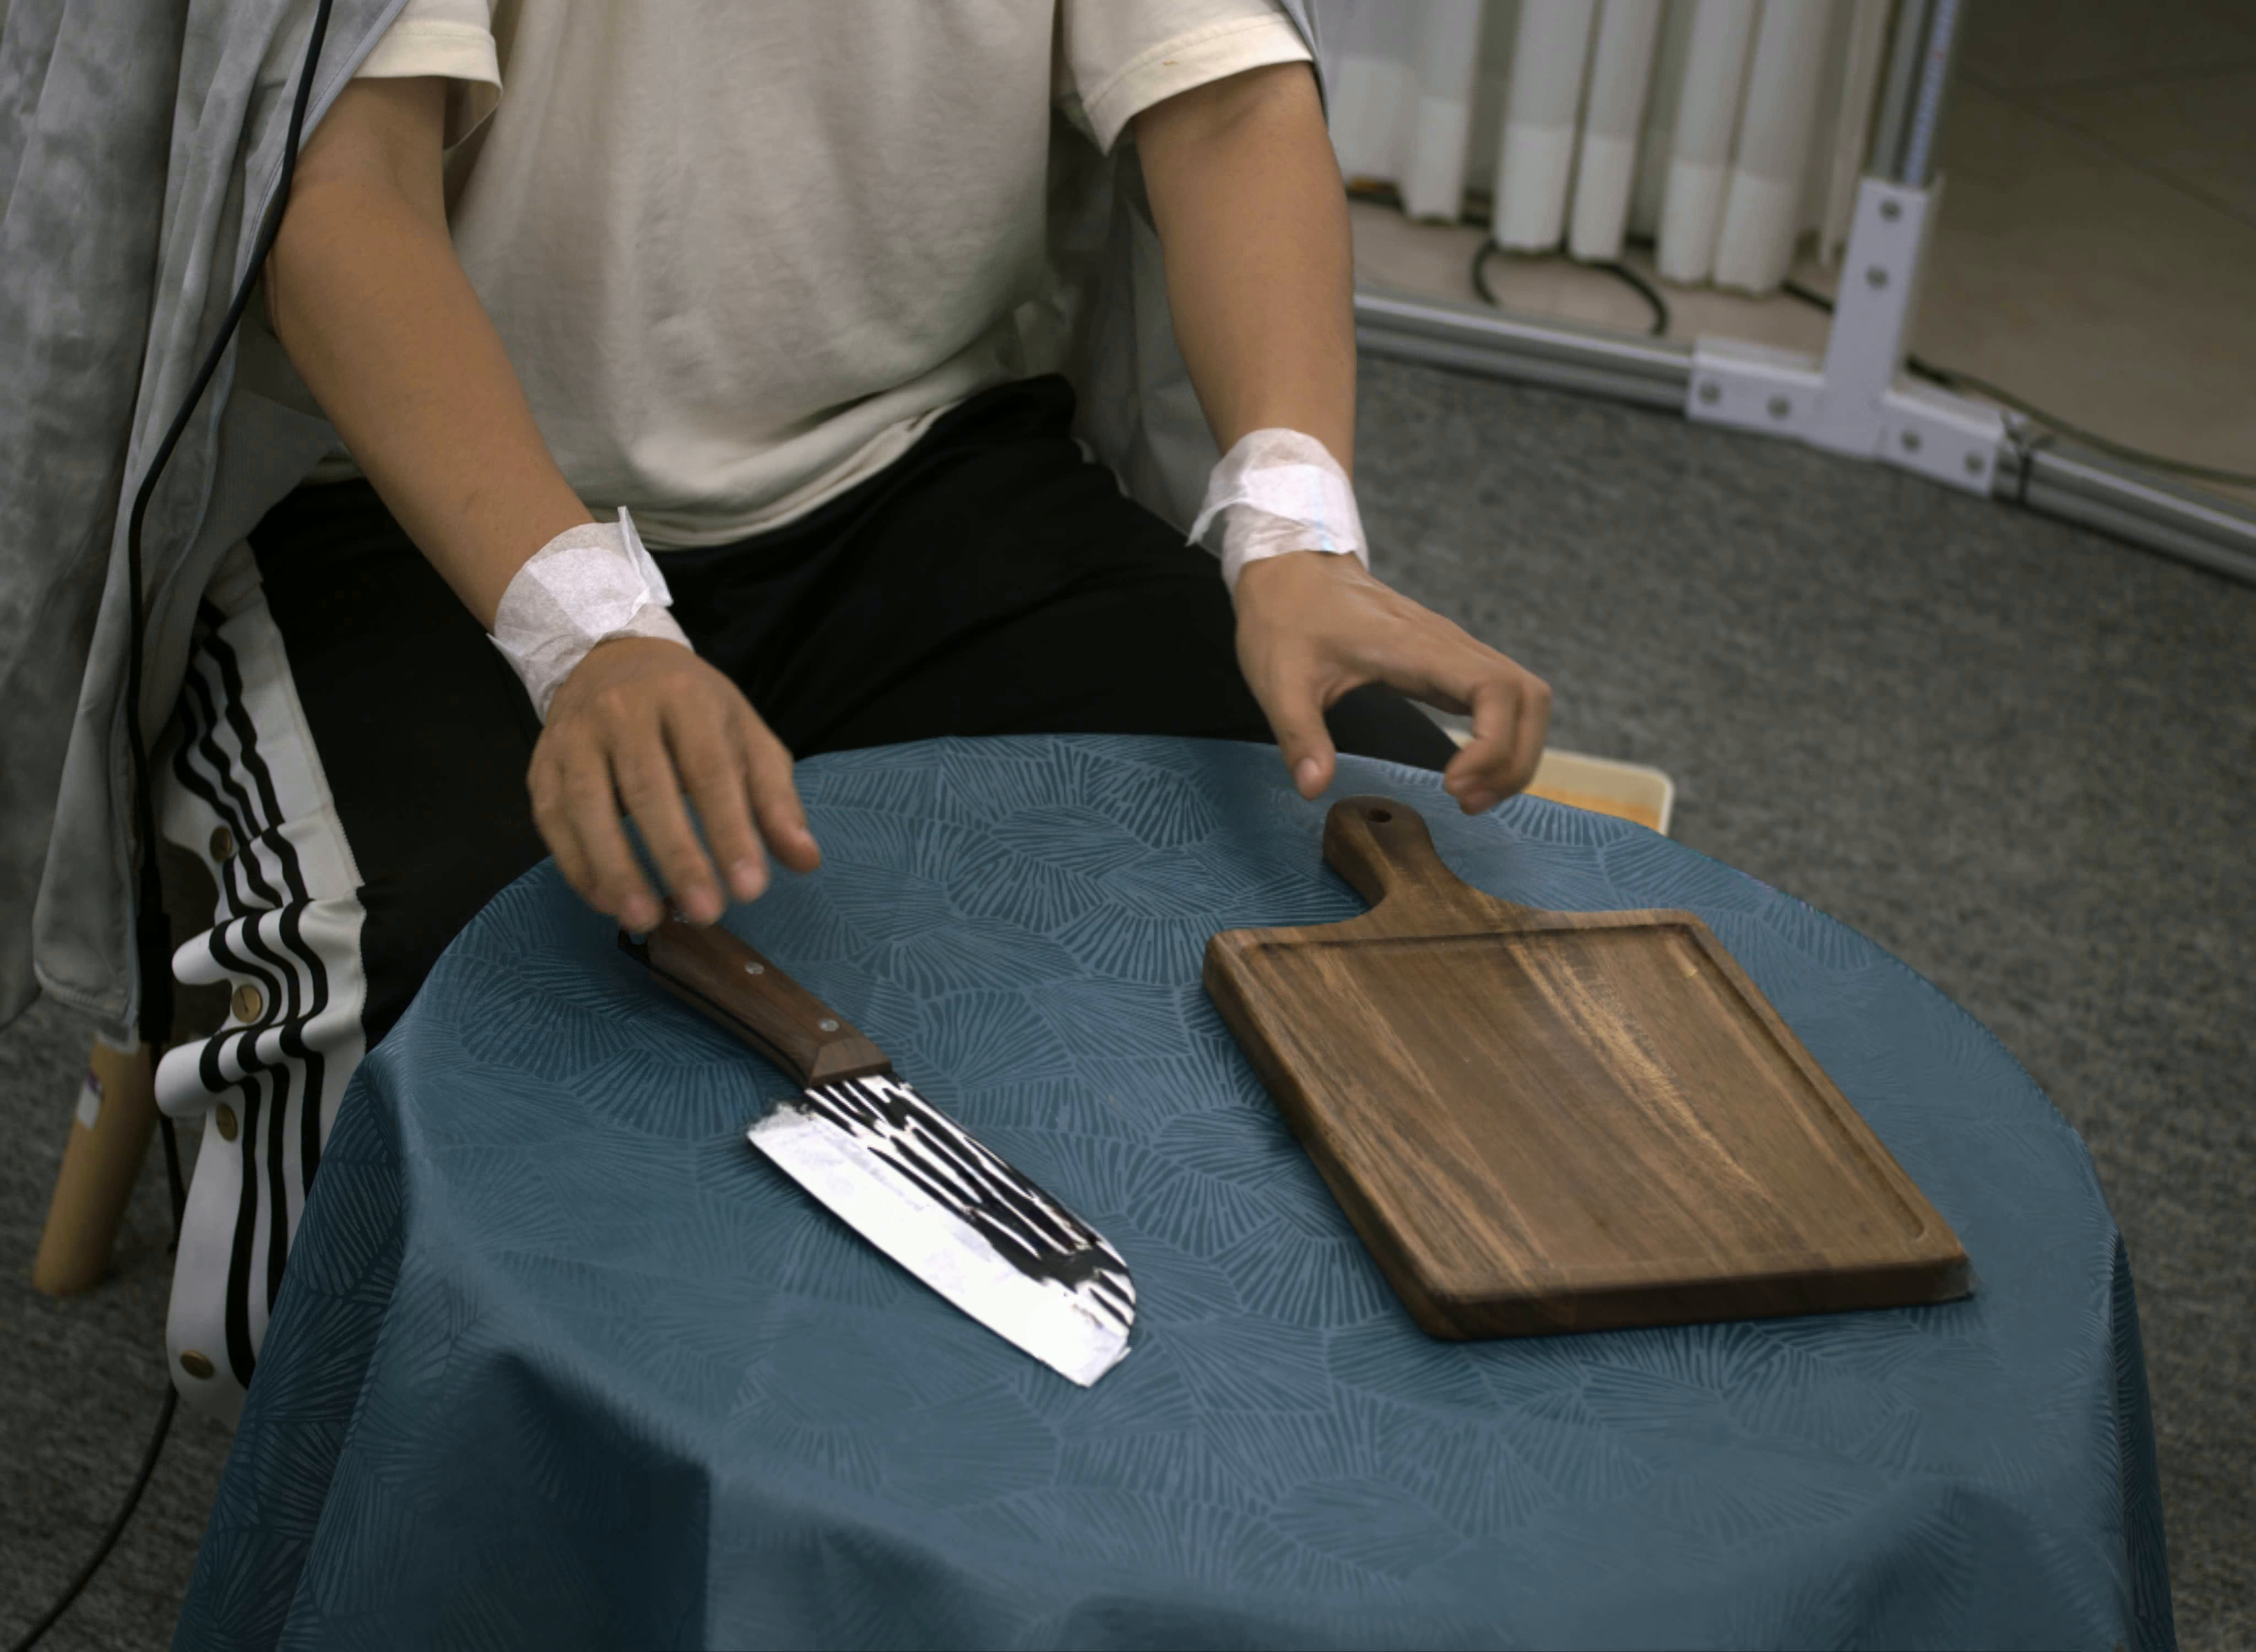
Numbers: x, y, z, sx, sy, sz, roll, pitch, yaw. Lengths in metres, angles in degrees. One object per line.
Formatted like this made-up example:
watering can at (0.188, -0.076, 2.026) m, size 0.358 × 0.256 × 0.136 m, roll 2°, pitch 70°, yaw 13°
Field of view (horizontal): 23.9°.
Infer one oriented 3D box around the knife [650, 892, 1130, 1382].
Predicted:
knife at (-0.090, 0.104, 1.802) m, size 0.068 × 0.024 × 0.302 m, roll -17°, pitch 38°, yaw -35°

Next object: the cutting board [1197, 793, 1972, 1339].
cutting board at (0.140, 0.076, 1.906) m, size 0.200 × 0.023 × 0.355 m, roll -3°, pitch 28°, yaw -18°
